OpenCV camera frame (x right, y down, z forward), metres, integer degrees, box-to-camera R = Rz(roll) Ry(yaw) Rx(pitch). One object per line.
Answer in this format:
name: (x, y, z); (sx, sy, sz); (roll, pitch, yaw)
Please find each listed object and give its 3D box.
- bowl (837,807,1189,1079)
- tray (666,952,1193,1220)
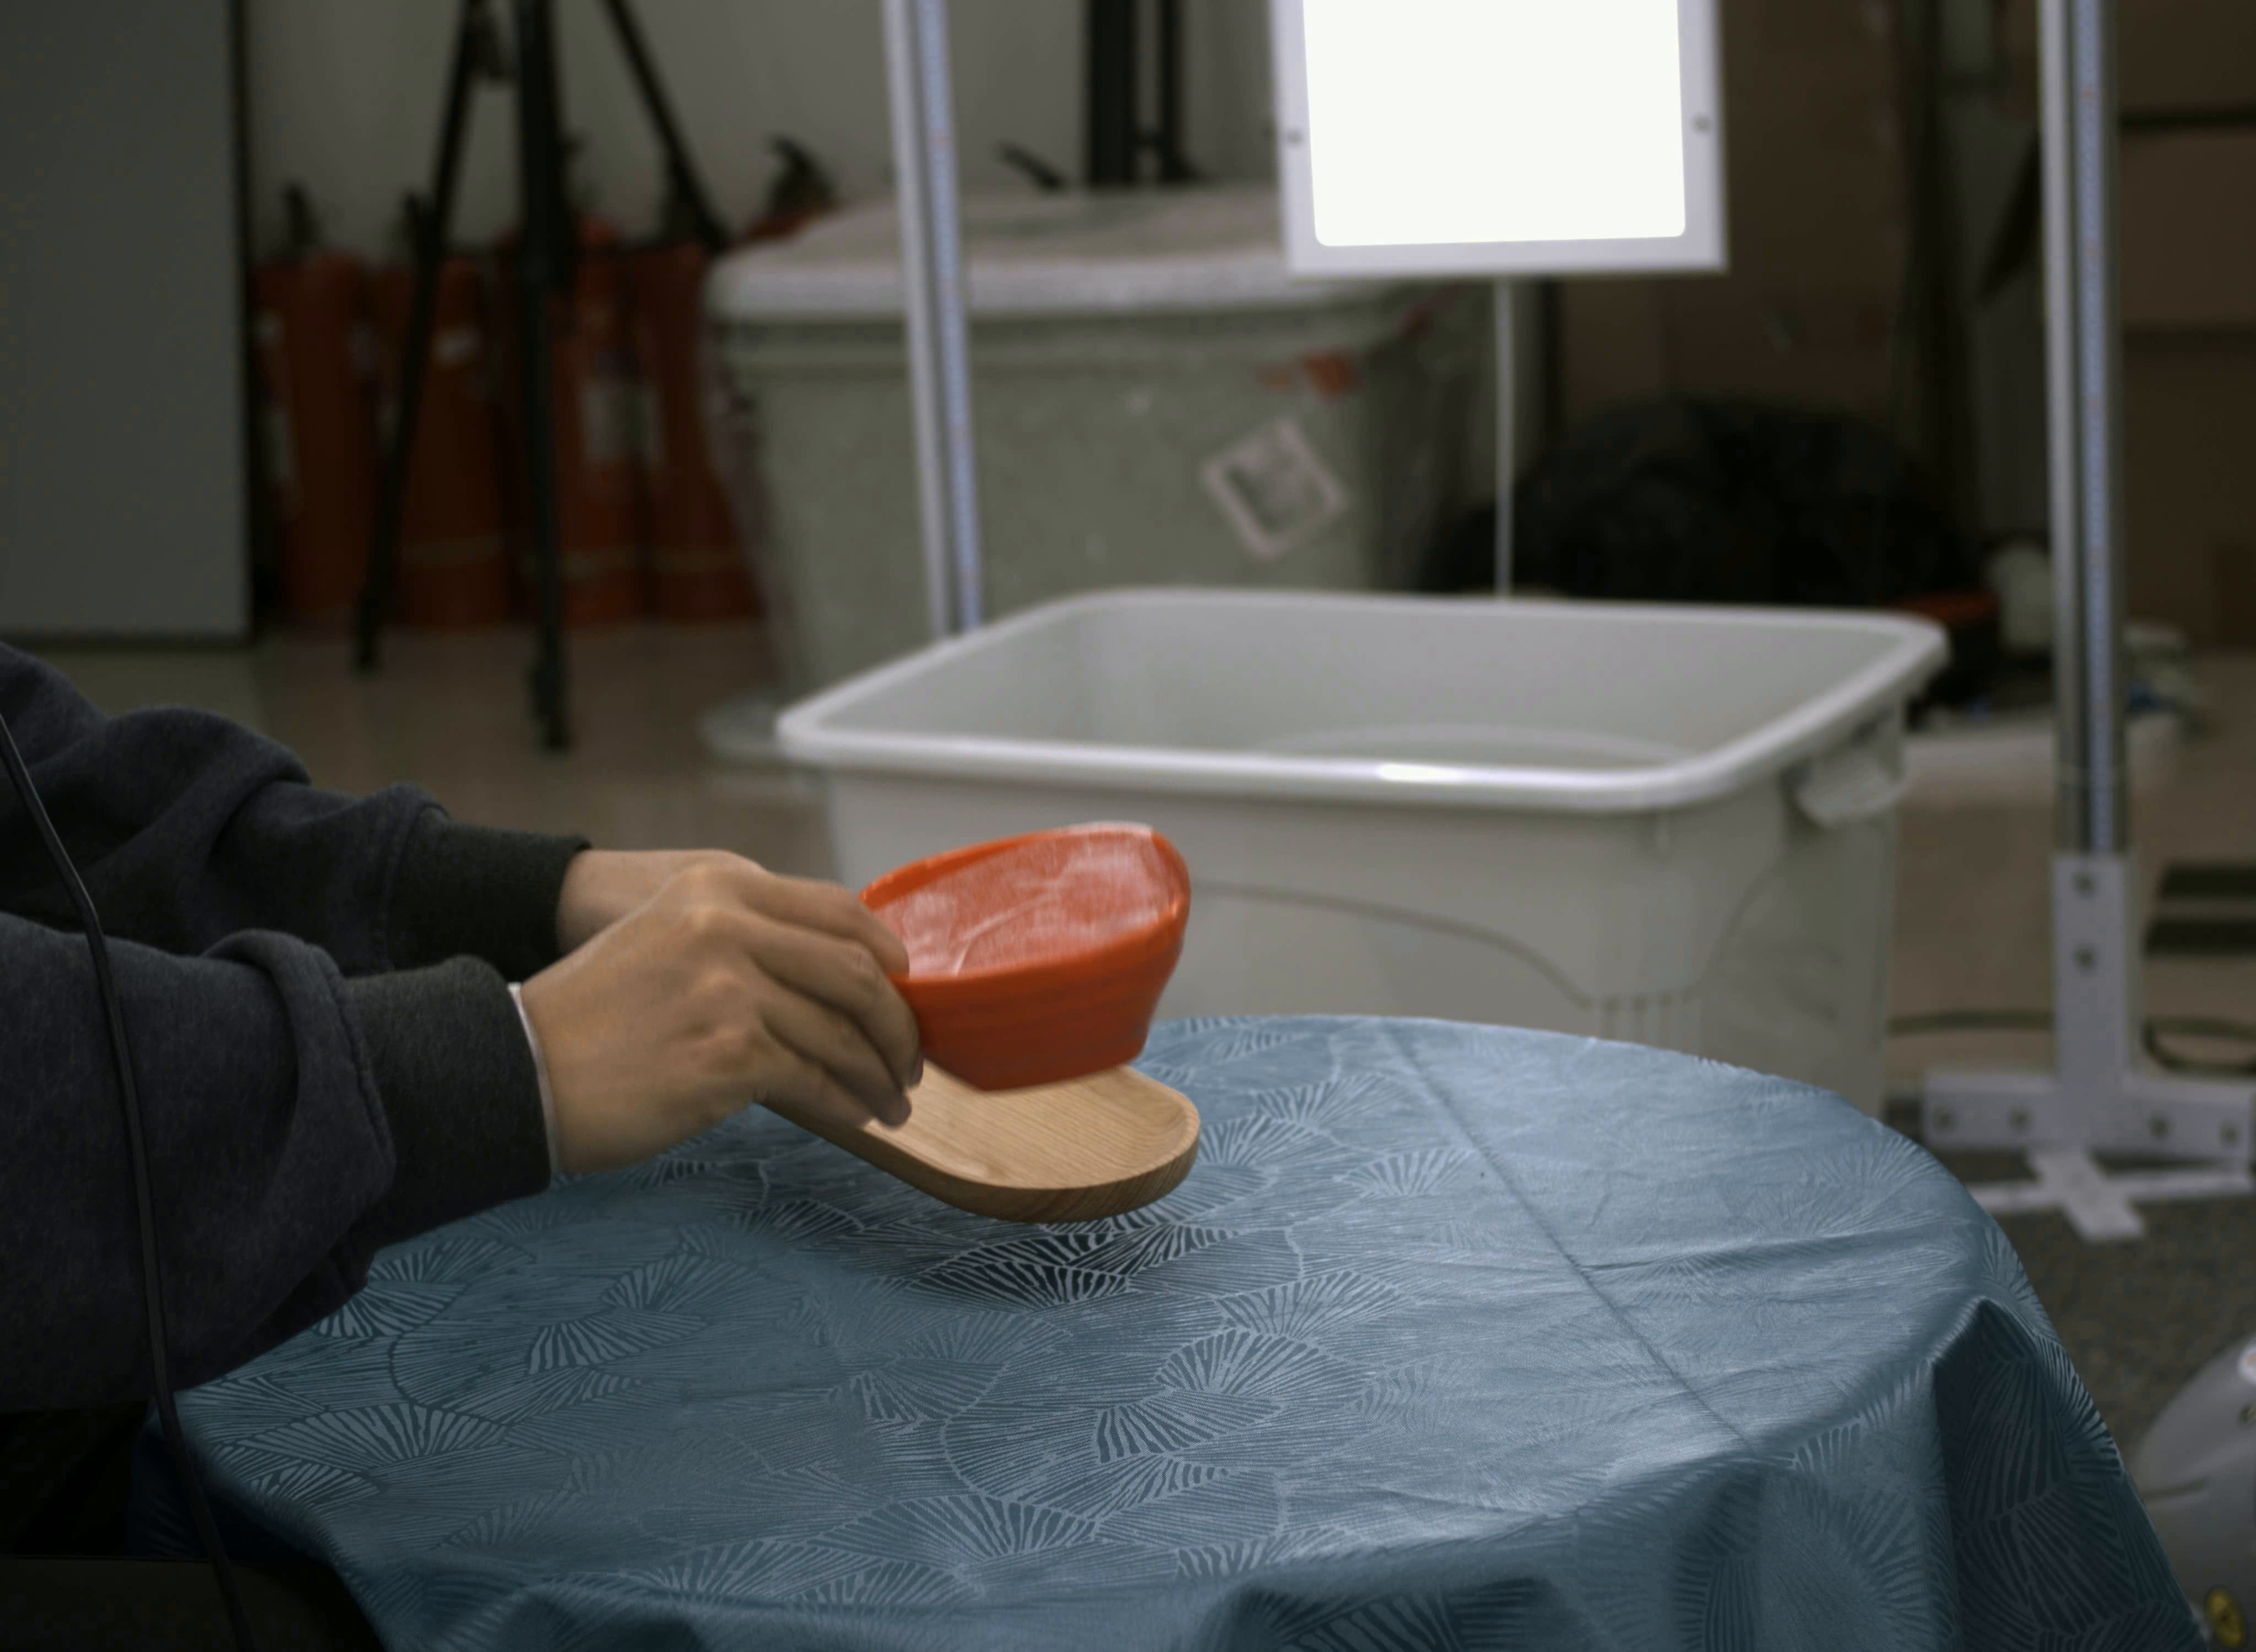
bowl: (-0.032, 0.040, 1.701); (0.119, 0.051, 0.118); (-11, 21, 3)
tray: (-0.070, 0.088, 1.891); (0.099, 0.020, 0.236); (-17, 25, -35)
